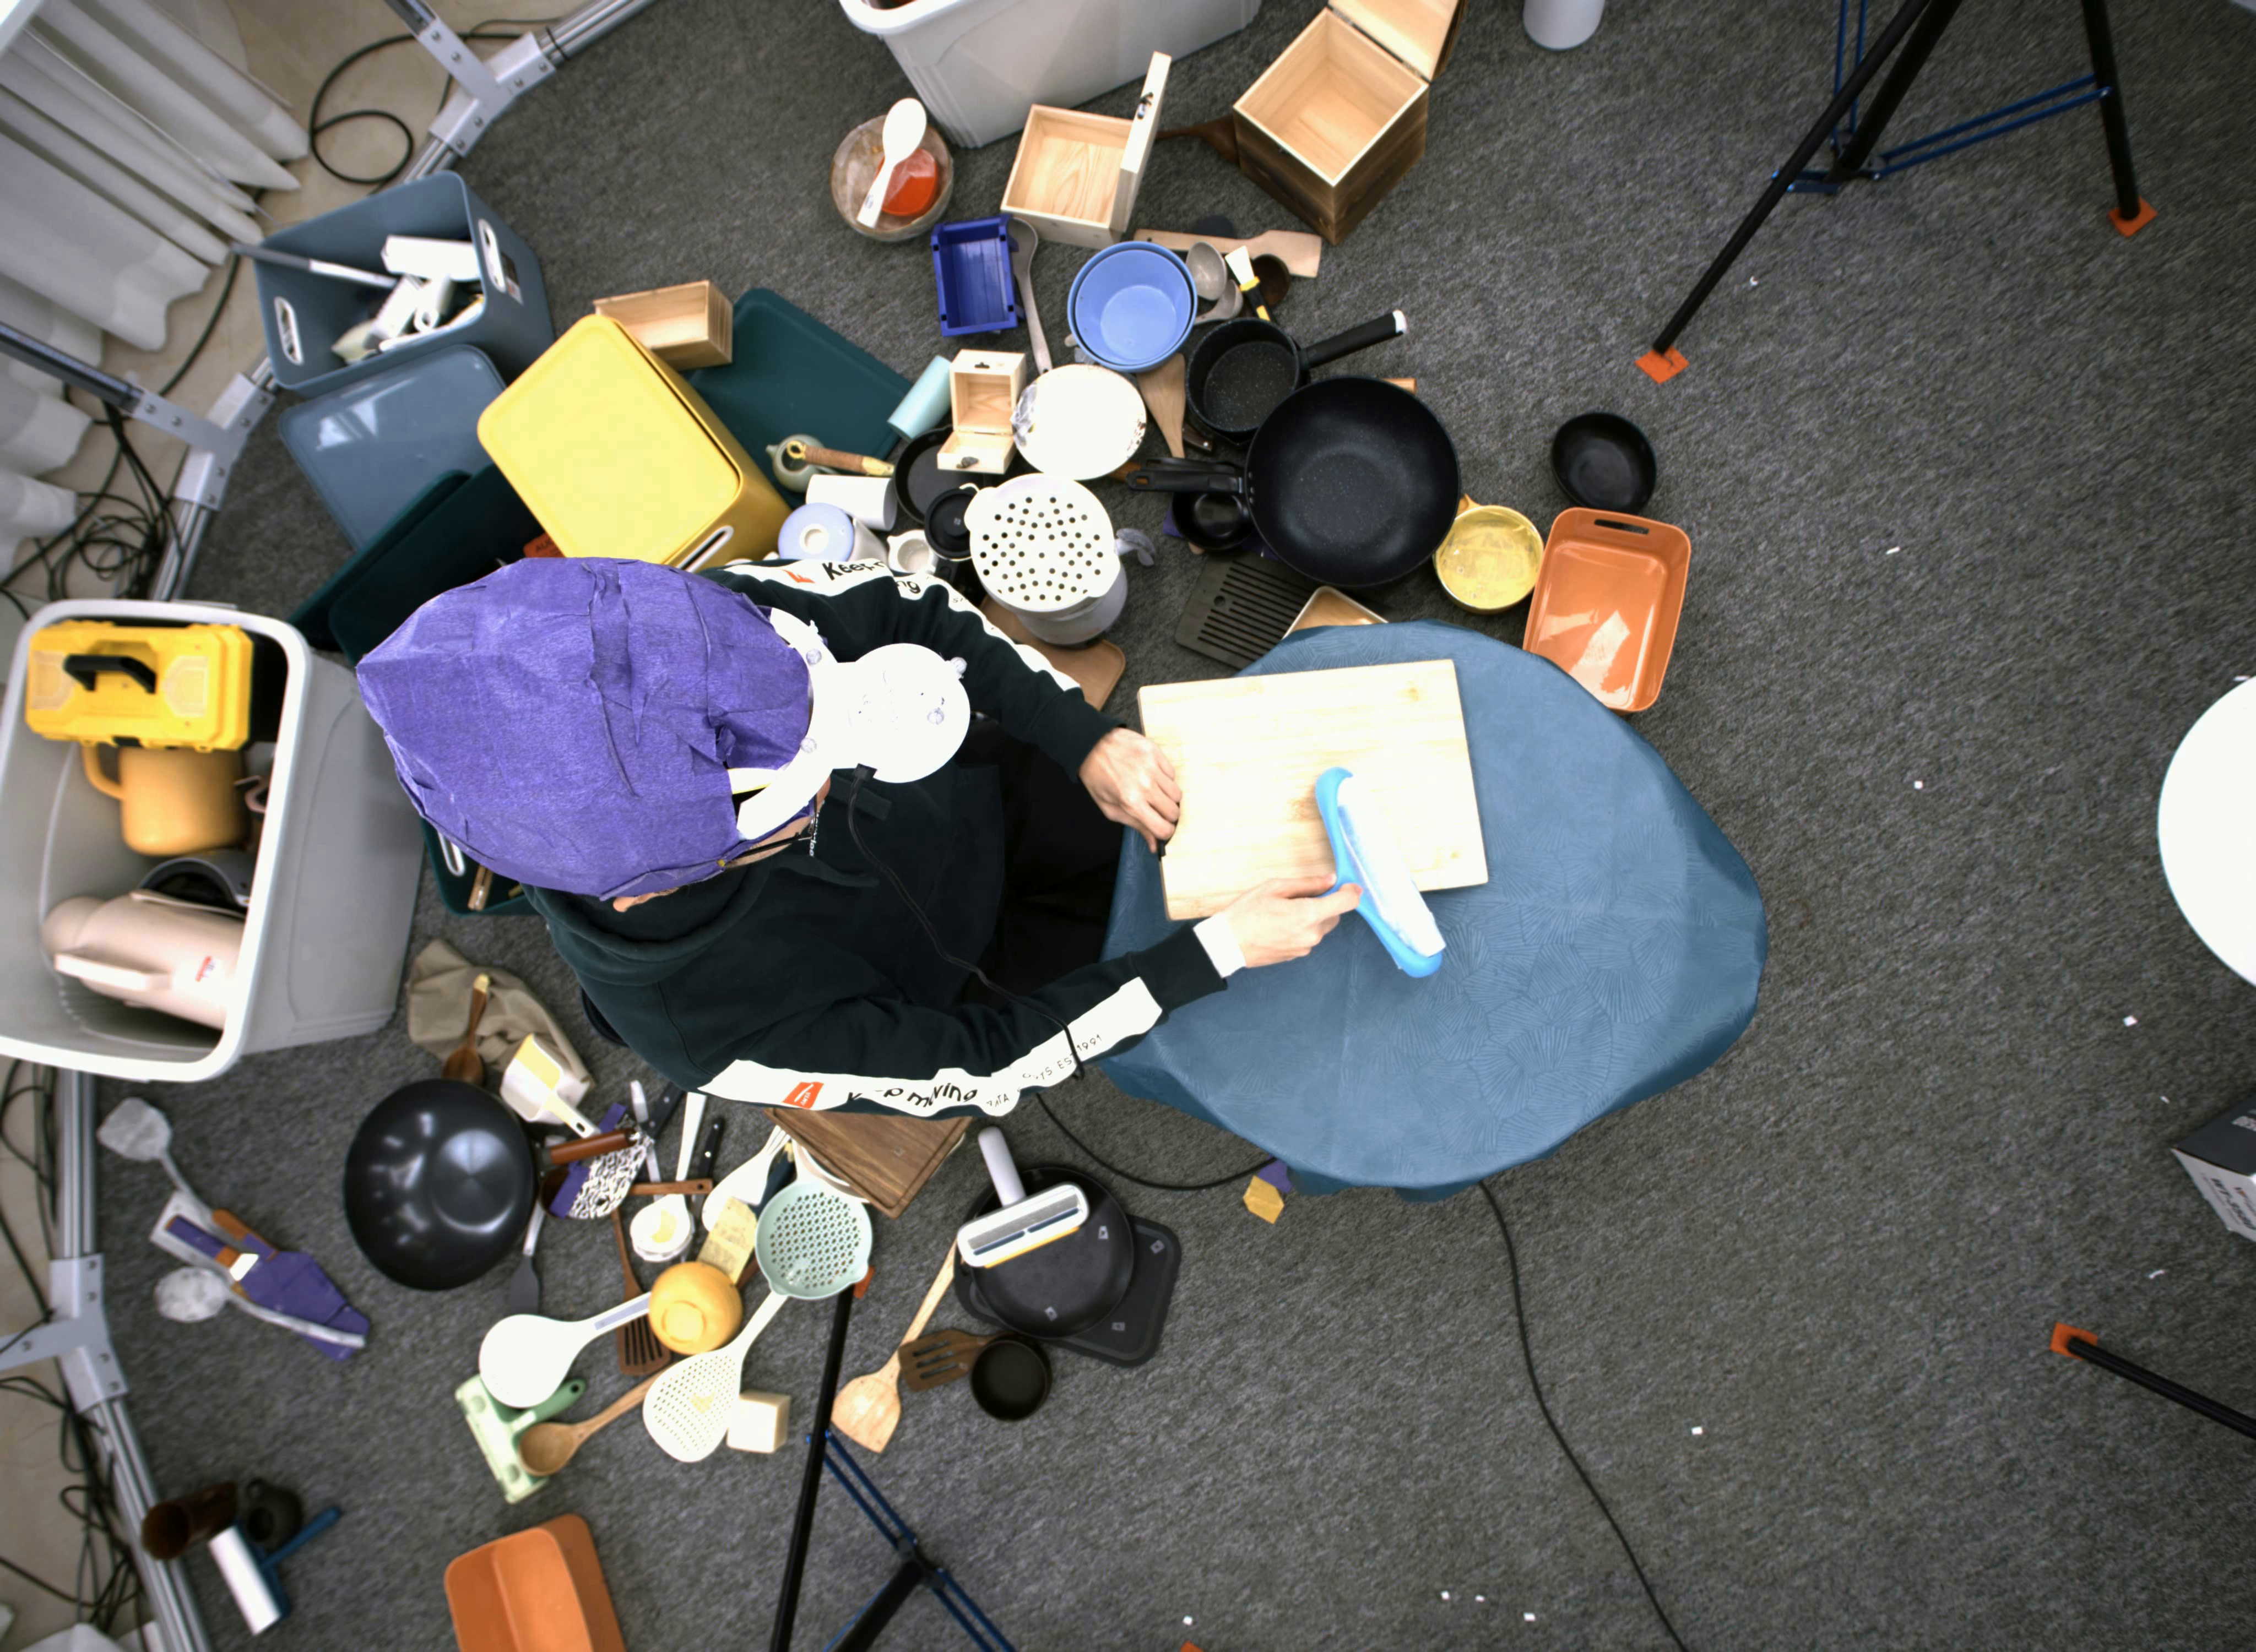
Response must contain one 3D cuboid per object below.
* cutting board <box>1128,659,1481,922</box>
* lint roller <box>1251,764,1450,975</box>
[{"bbox_3d":[0.185,-0.041,1.413,0.348,0.024,0.249,-7,86,-9],"label":"cutting board"},{"bbox_3d":[0.206,0.067,1.355,0.178,0.069,0.229,-29,91,-23],"label":"lint roller"}]
